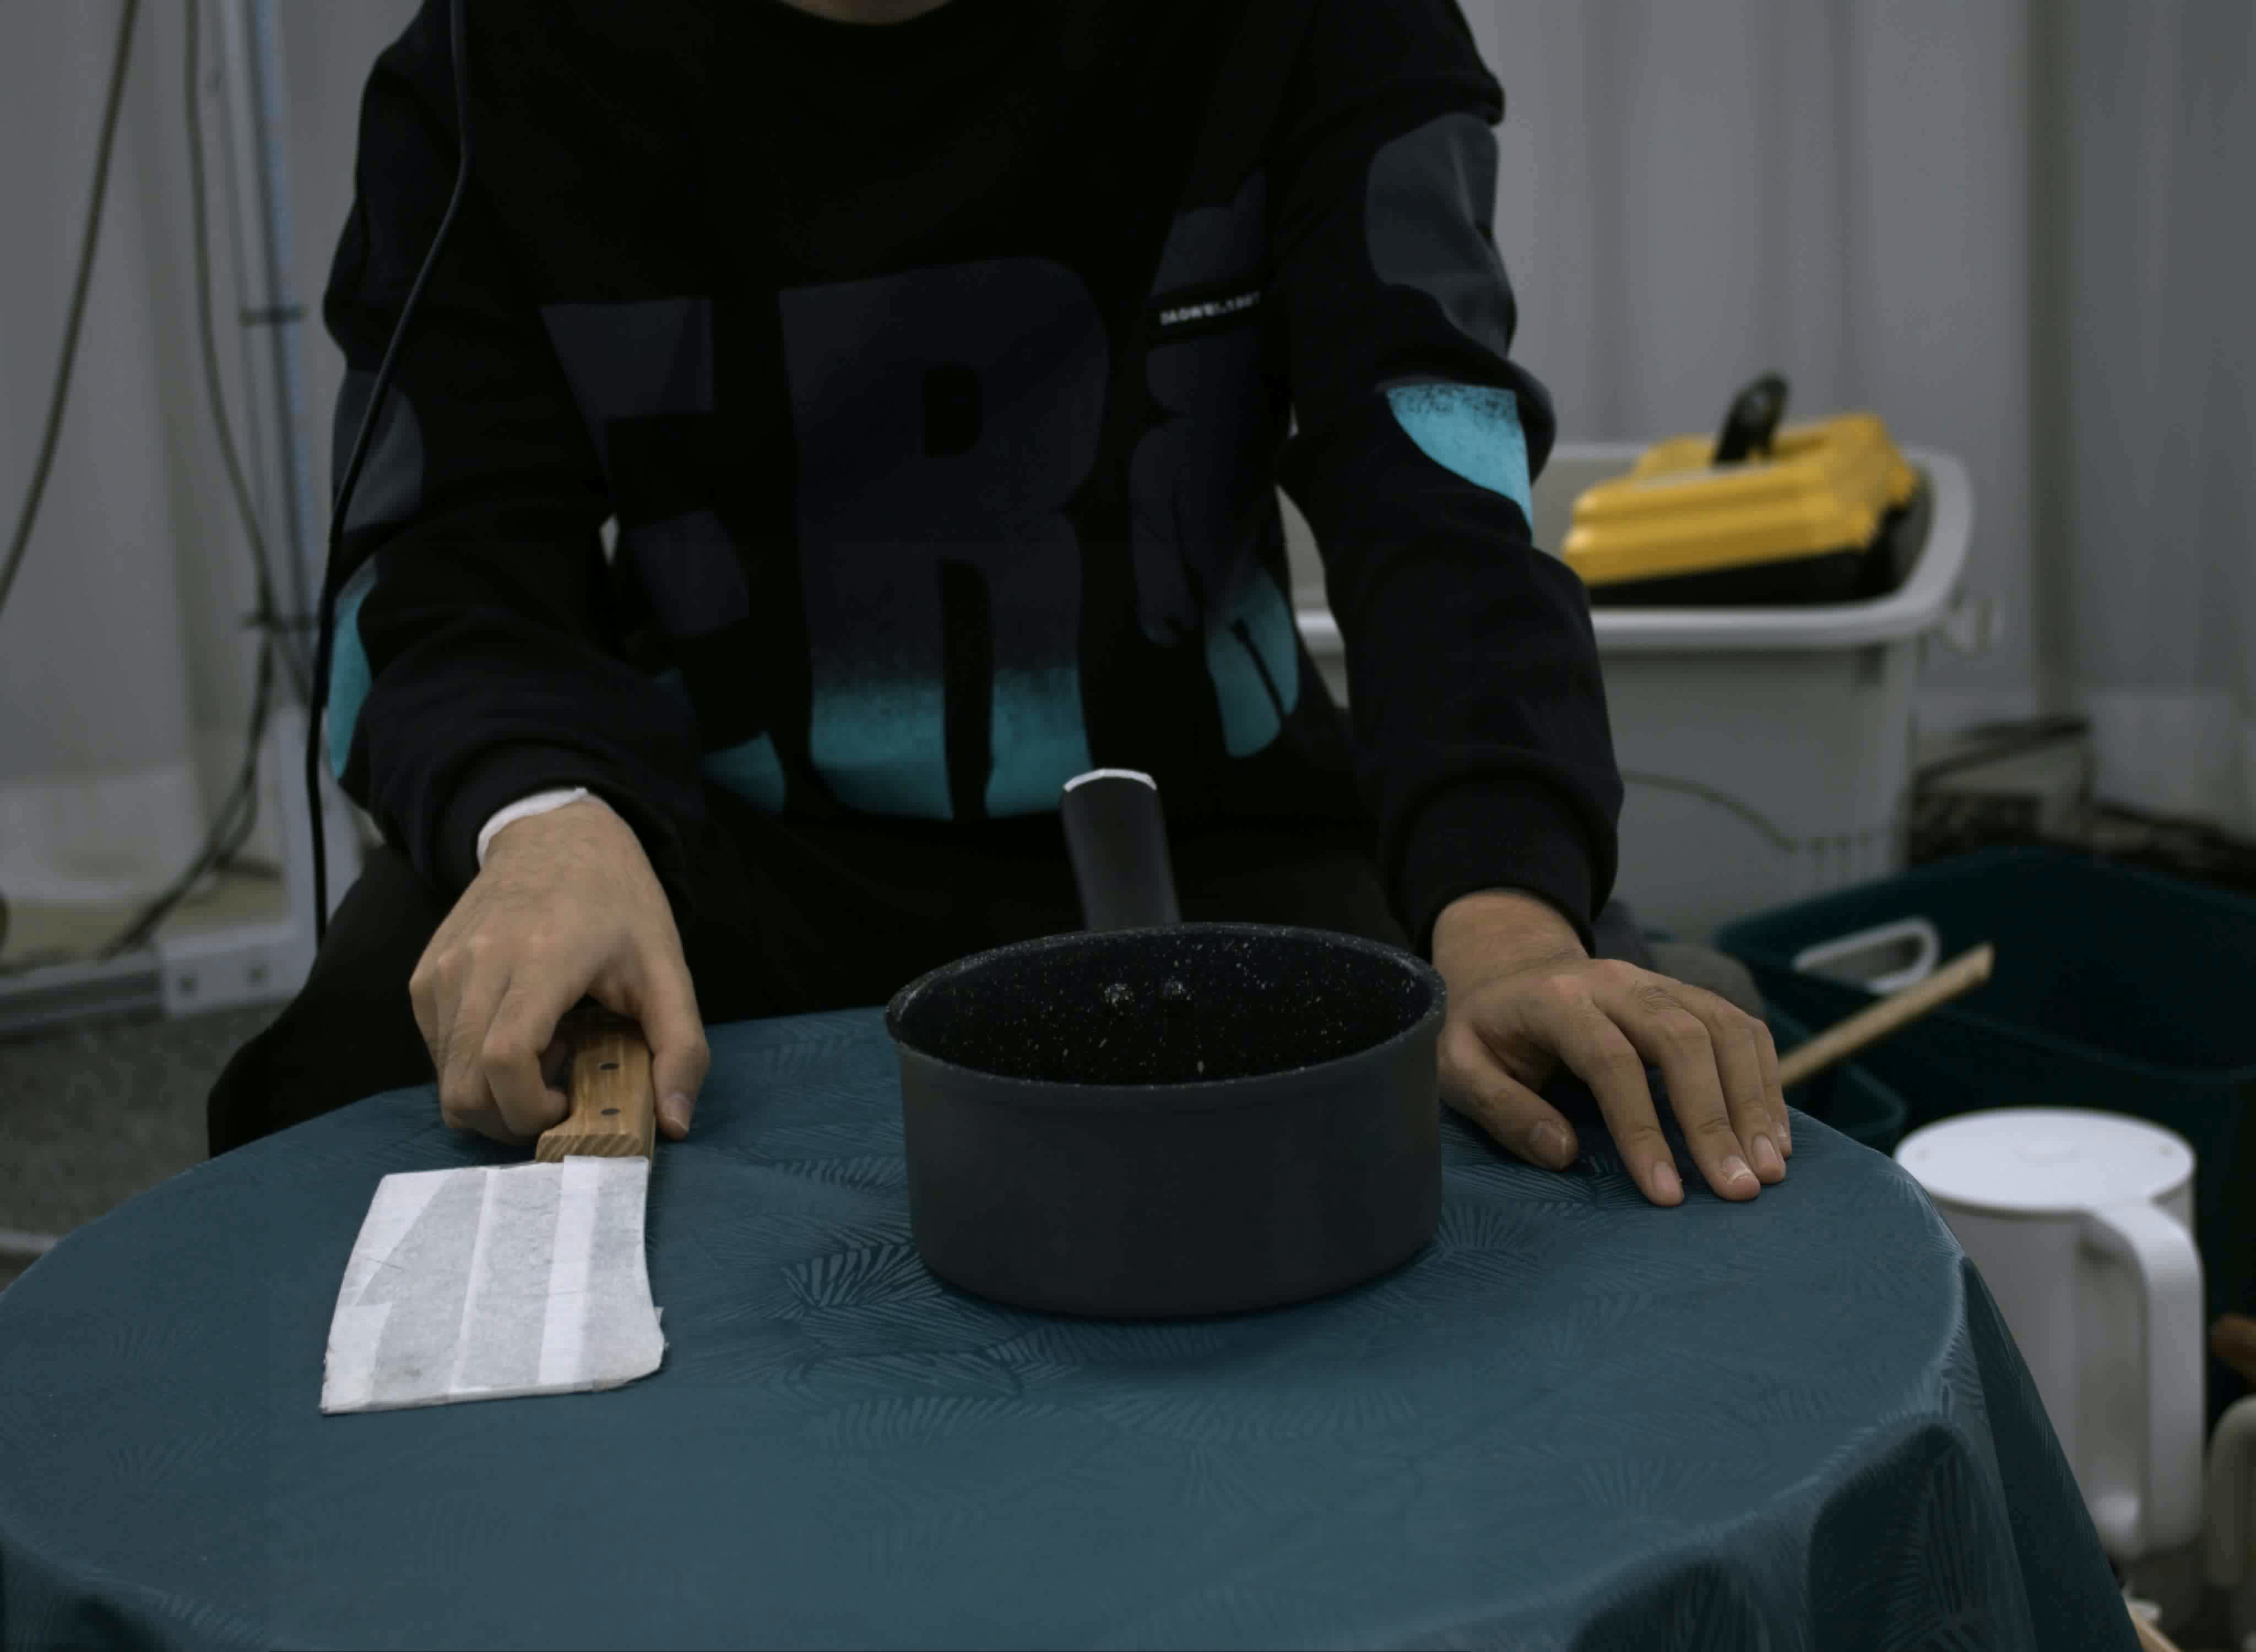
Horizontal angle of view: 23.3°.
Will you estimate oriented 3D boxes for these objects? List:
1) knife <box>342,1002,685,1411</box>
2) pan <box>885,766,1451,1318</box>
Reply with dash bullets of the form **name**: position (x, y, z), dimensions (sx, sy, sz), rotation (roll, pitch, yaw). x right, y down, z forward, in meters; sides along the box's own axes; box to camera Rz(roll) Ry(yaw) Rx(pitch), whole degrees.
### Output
- **knife**: position (-0.183, 0.117, 1.708), dimensions (0.113, 0.021, 0.318), rotation (-3, 18, 2)
- **pan**: position (0.010, 0.065, 1.738), dimensions (0.171, 0.086, 0.331), rotation (-1, 16, -1)
